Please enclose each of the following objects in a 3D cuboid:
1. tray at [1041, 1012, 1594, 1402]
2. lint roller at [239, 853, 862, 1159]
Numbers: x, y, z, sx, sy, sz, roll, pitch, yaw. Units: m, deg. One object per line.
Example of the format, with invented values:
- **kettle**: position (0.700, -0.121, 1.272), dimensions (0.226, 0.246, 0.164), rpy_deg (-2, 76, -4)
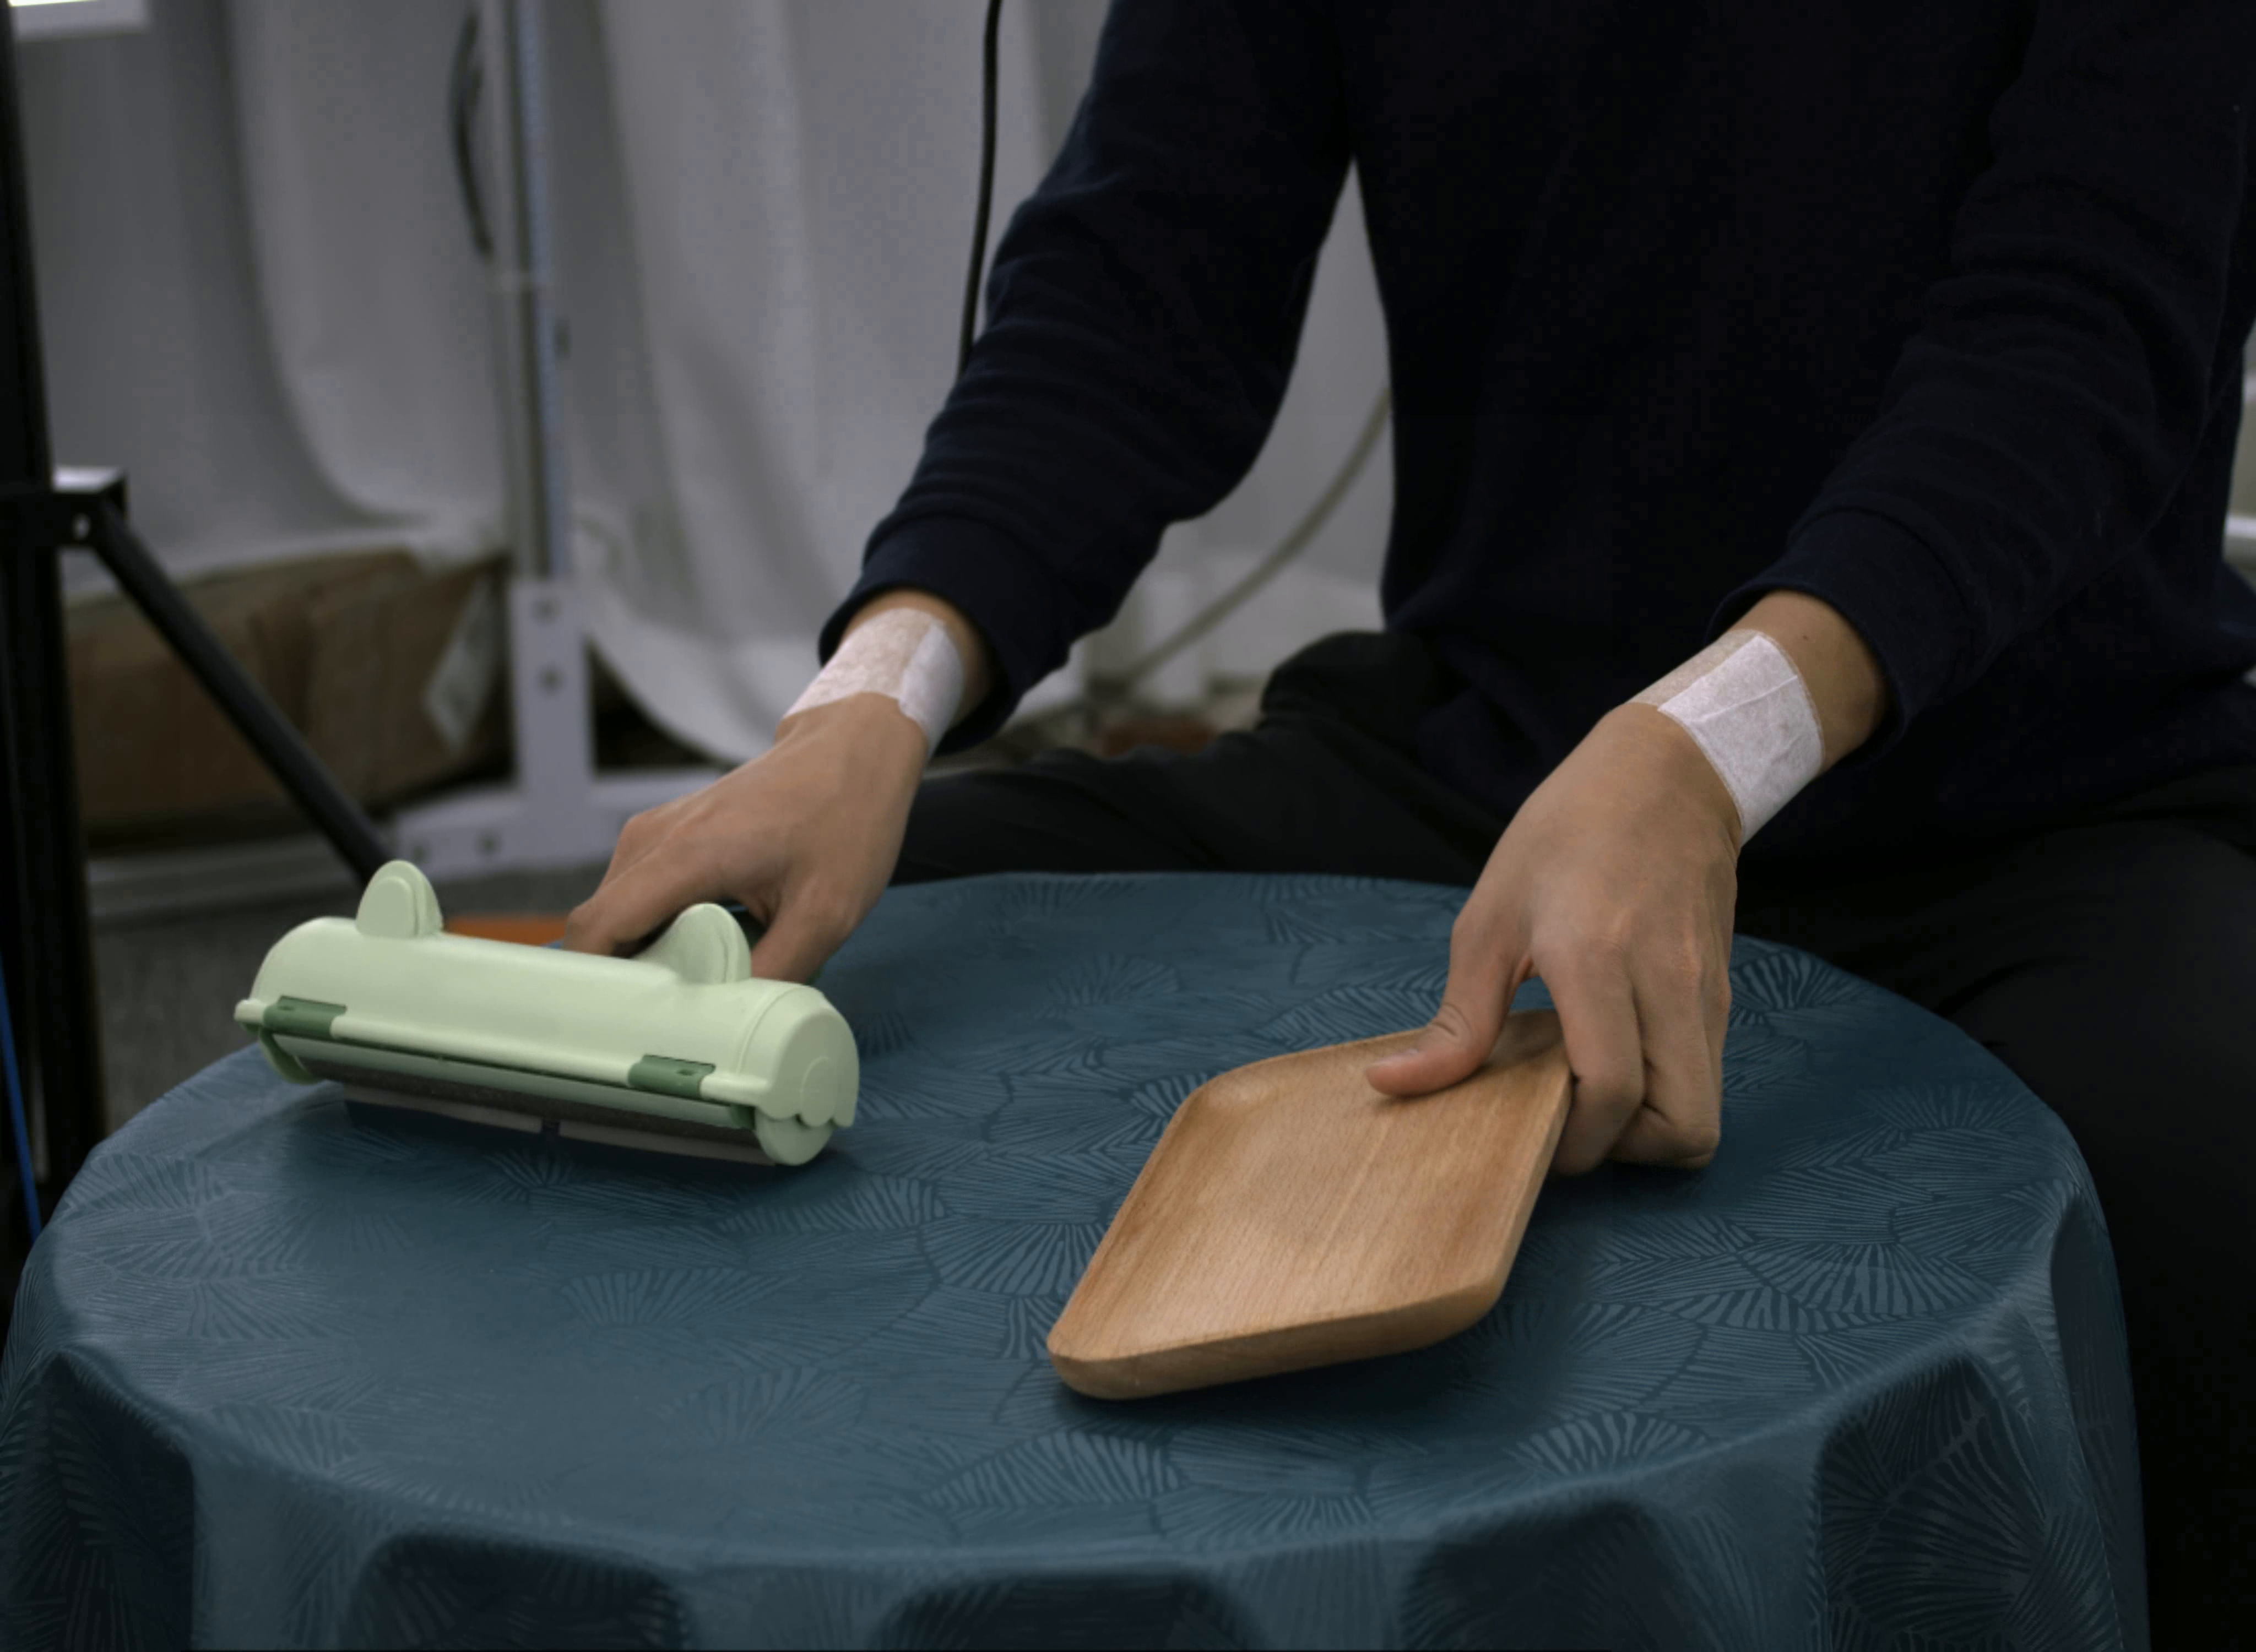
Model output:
- **tray**: position (0.058, 0.105, 1.489), dimensions (0.131, 0.023, 0.249), rpy_deg (-9, 13, 15)
- **lint roller**: position (-0.150, 0.035, 1.671), dimensions (0.202, 0.082, 0.180), rpy_deg (7, 27, 30)
